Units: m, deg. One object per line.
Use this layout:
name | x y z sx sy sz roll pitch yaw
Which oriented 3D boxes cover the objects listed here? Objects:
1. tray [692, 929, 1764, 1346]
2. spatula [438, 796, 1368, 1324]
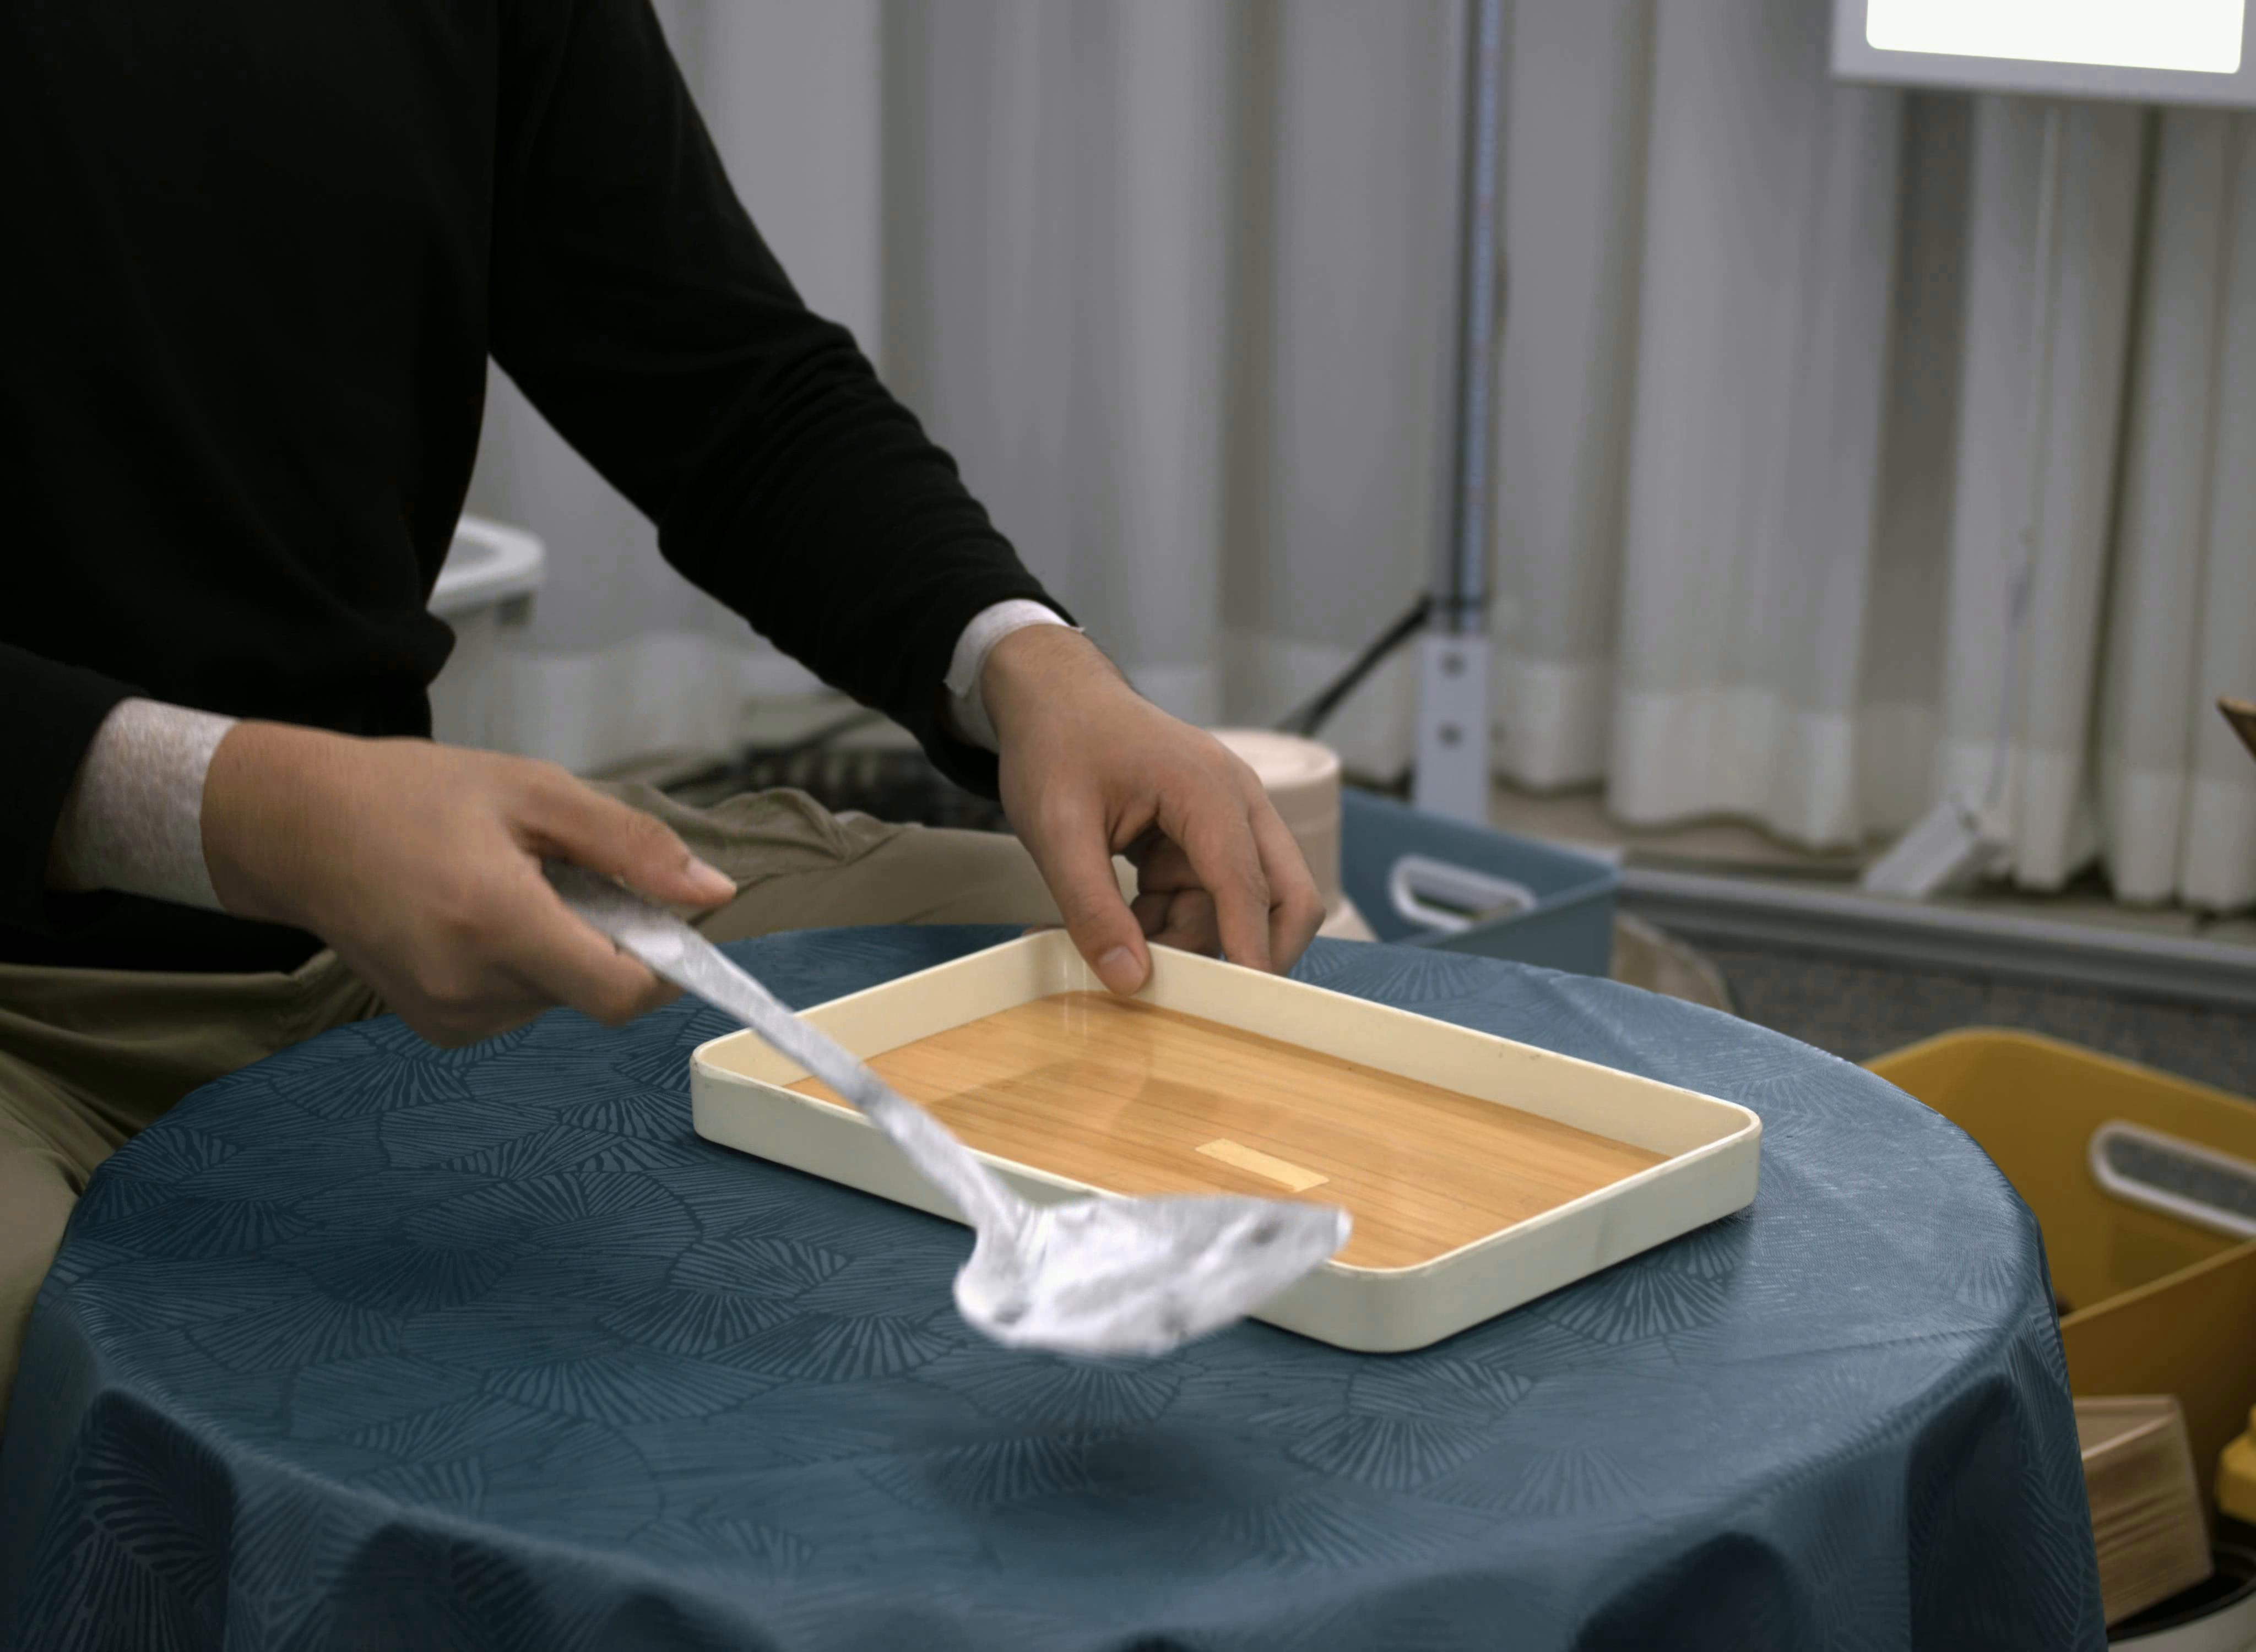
tray | 0.028 0.092 1.636 0.296 0.027 0.192 14 21 40
spatula | -0.086 0.055 1.477 0.099 0.045 0.360 -25 43 -38
